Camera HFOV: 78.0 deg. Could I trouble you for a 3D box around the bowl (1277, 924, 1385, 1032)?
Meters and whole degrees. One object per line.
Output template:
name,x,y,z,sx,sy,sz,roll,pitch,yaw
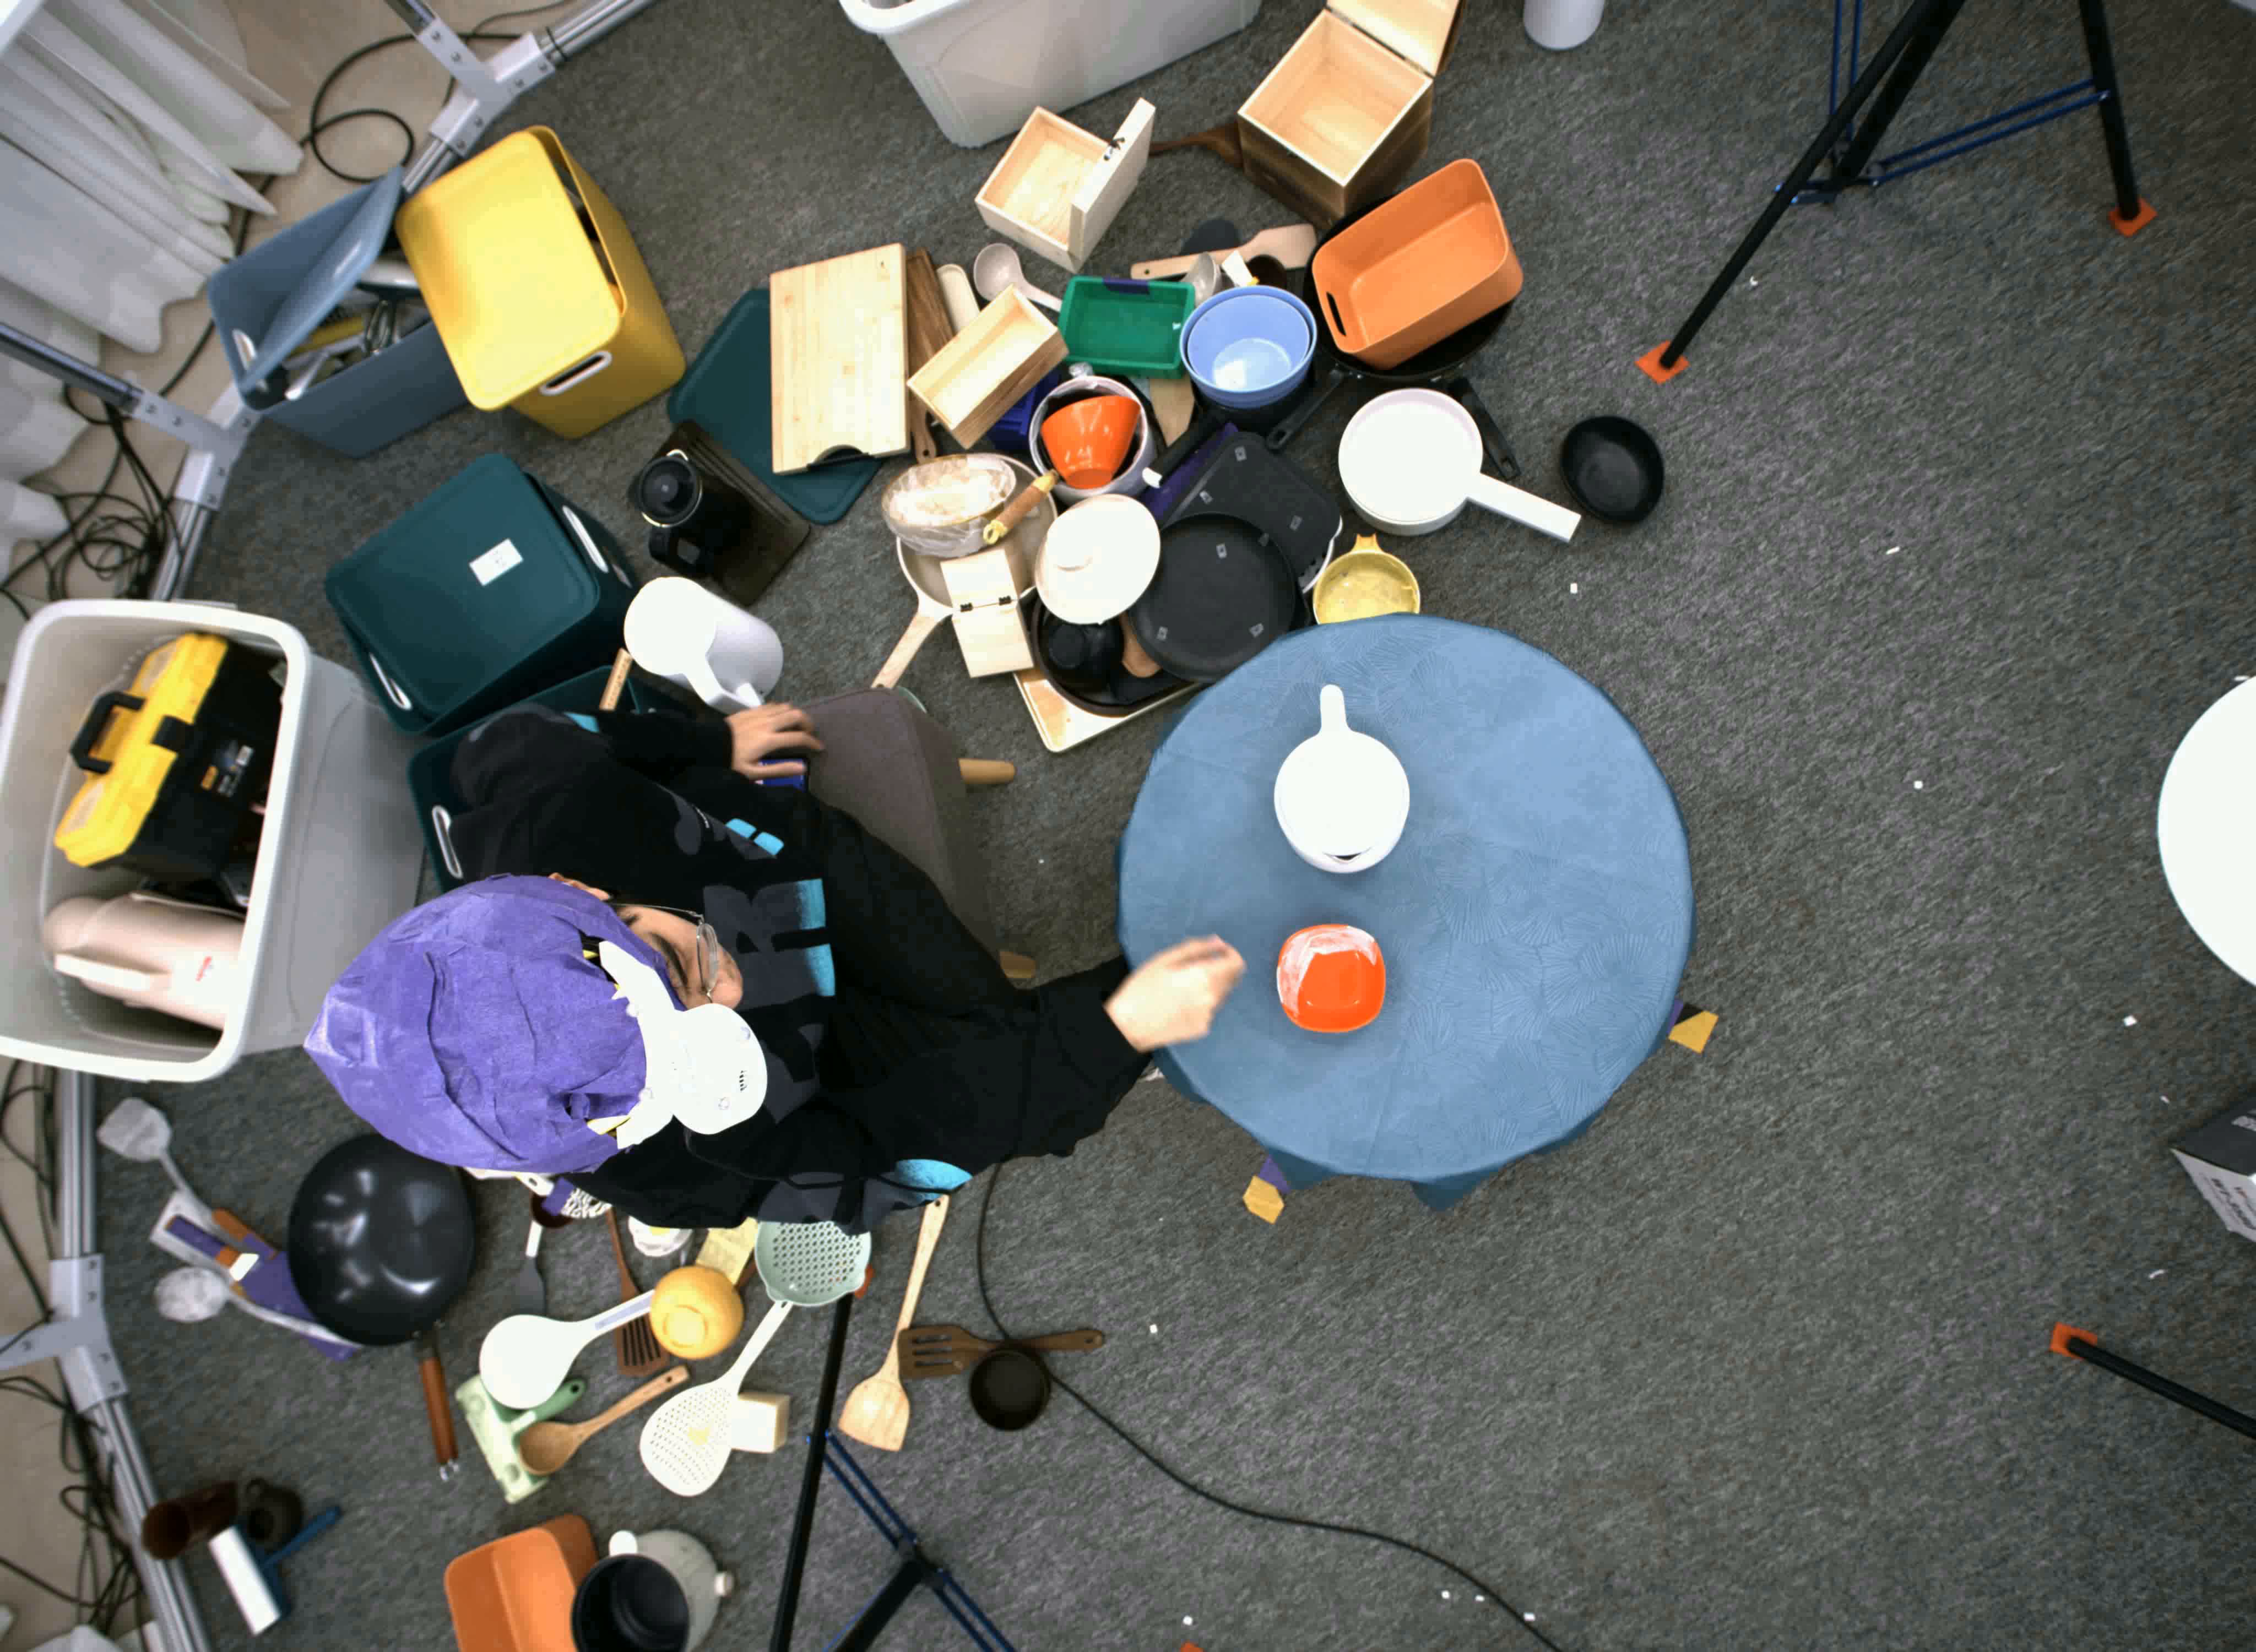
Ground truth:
bowl,0.210,0.156,1.435,0.119,0.051,0.118,0,88,8

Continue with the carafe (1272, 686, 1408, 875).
carafe,0.210,-0.047,1.386,0.133,0.183,0.189,-8,82,8
